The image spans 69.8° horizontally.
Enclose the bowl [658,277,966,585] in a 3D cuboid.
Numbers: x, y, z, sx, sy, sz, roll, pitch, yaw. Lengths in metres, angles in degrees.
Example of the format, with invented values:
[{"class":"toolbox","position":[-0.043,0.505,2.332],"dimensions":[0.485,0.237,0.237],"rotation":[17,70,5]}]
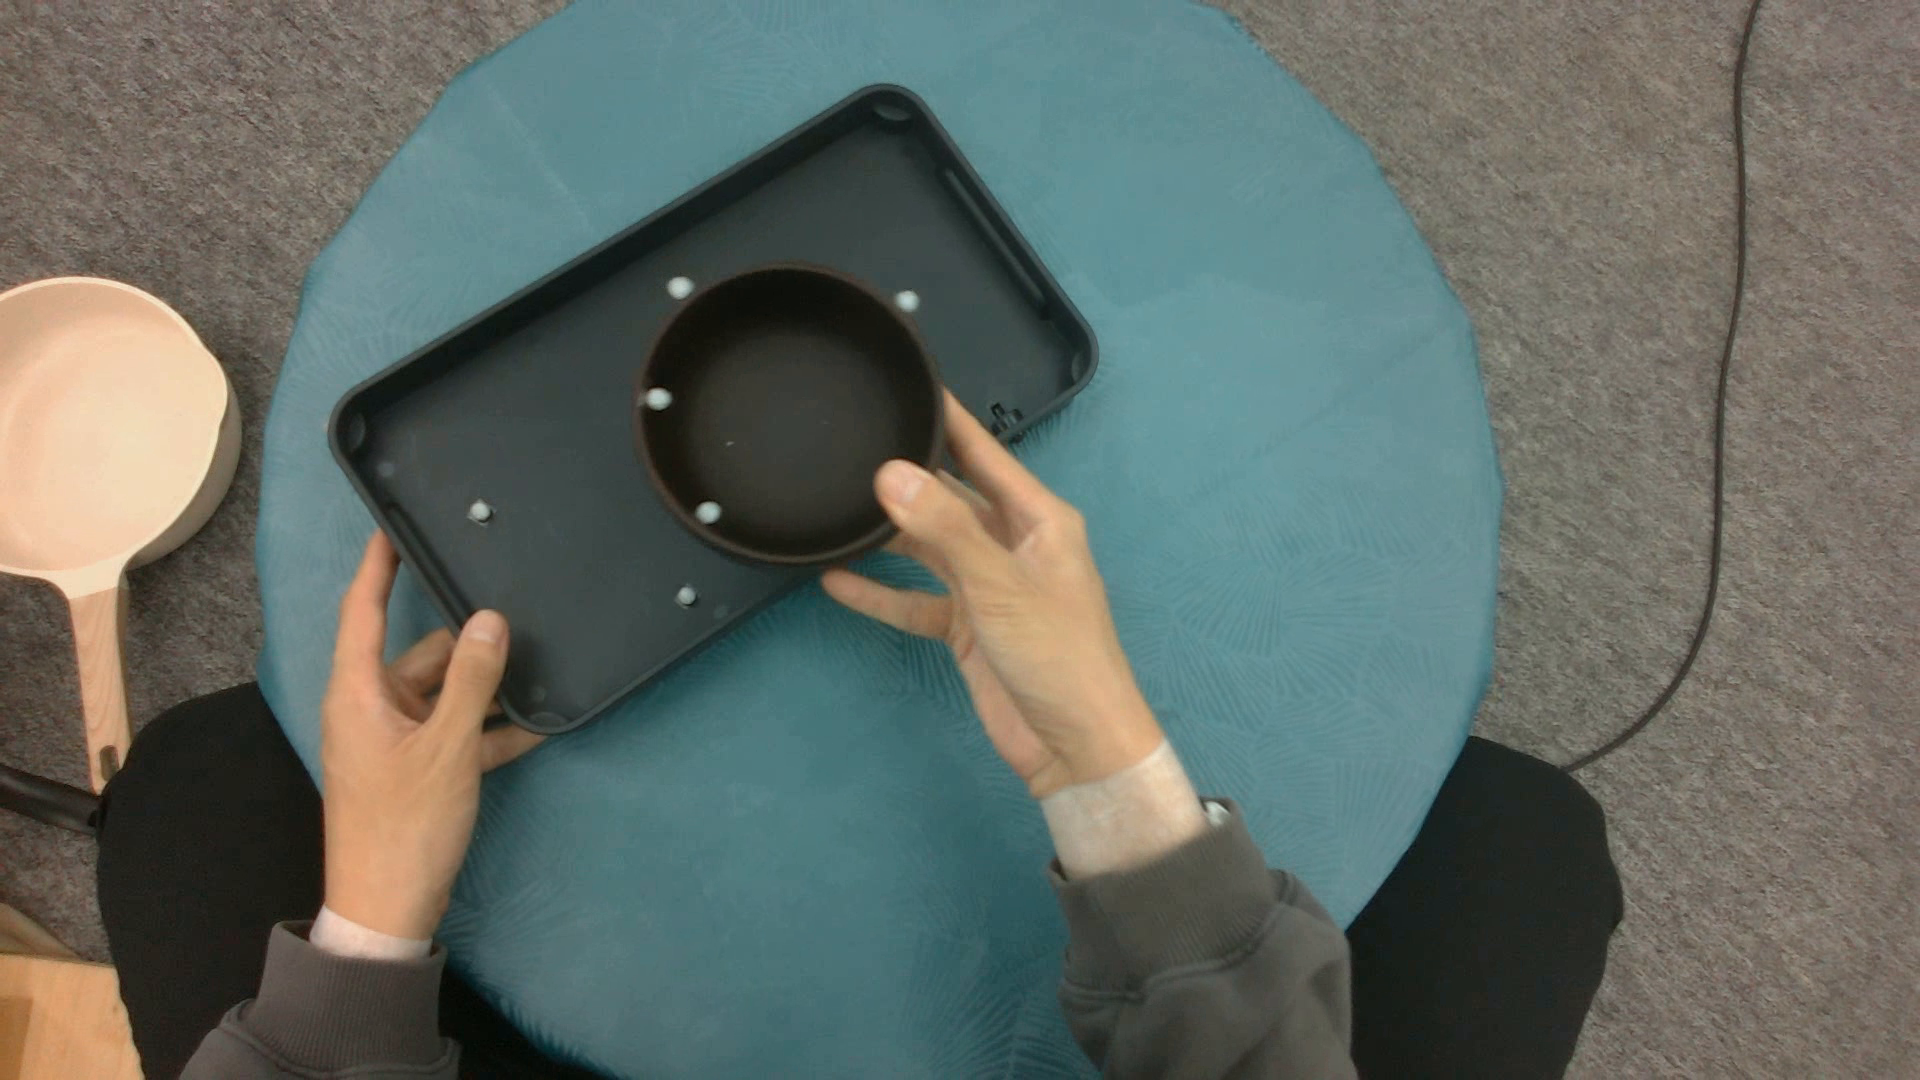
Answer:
[{"class":"bowl","position":[-0.058,-0.040,0.551],"dimensions":[0.118,0.070,0.118],"rotation":[1,83,-6]}]

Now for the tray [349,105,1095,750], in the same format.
[{"class":"tray","position":[-0.107,-0.059,0.661],"dimensions":[0.318,0.037,0.184],"rotation":[-36,83,-12]}]
